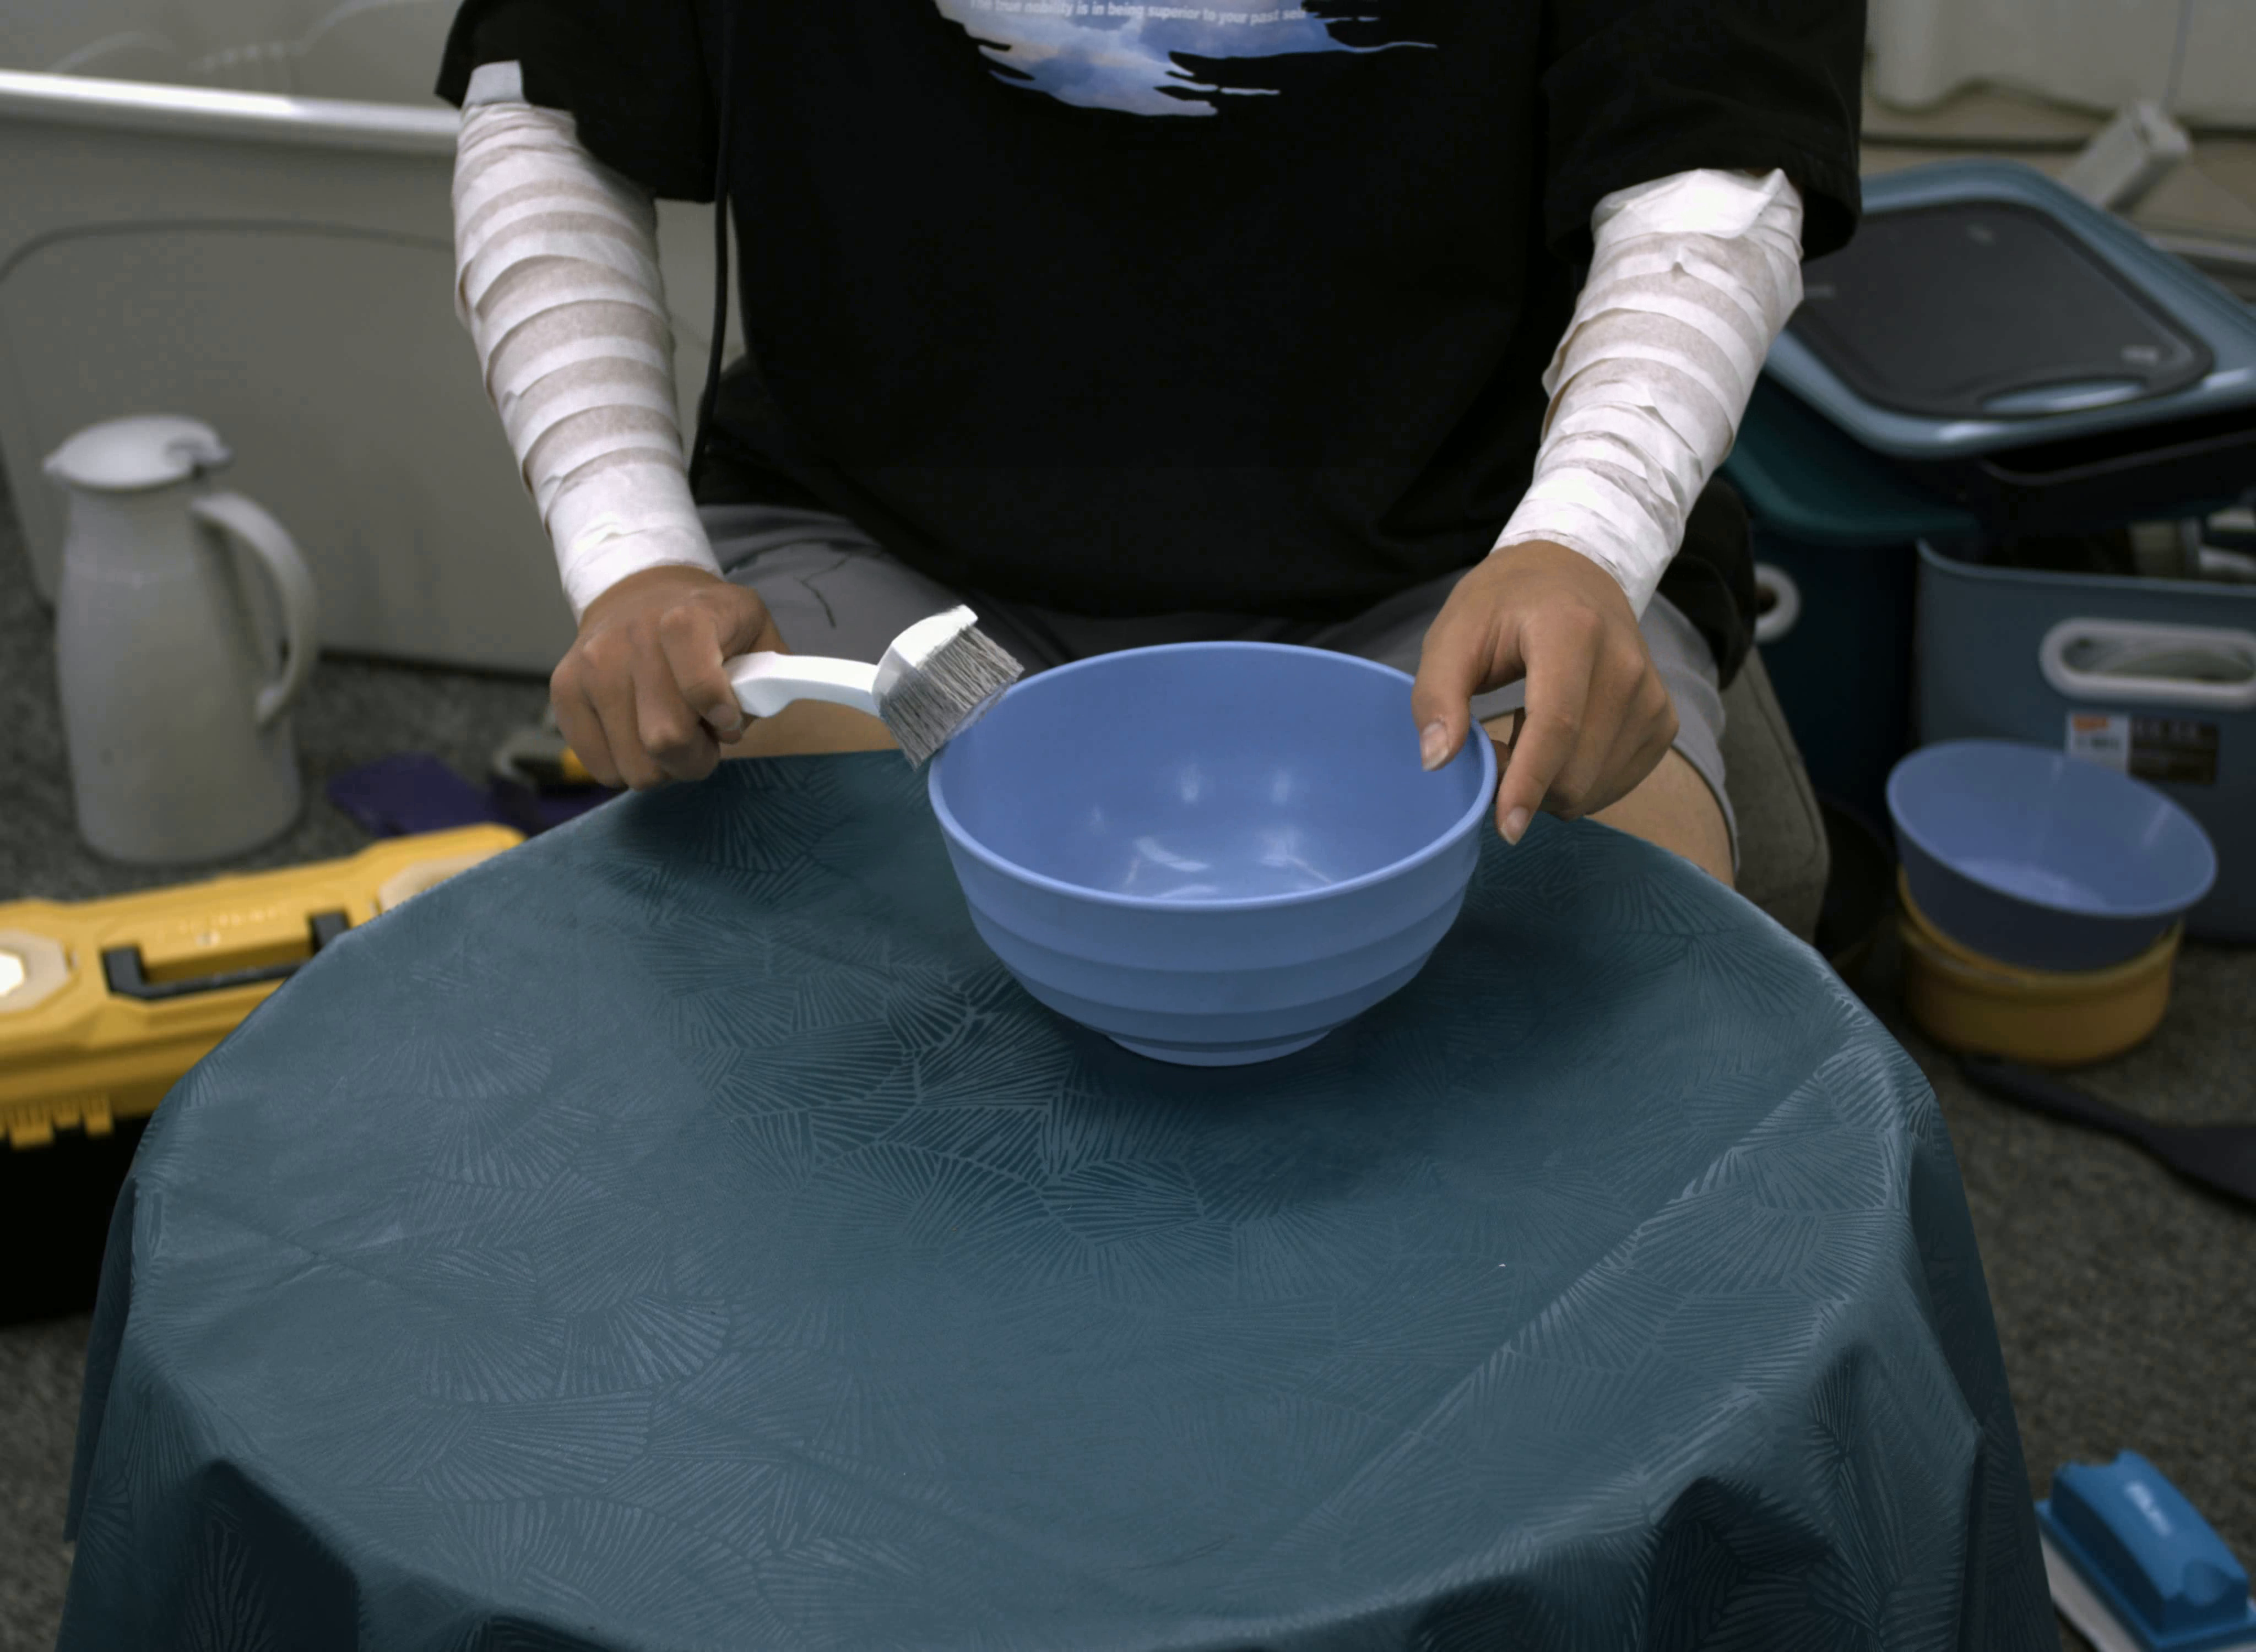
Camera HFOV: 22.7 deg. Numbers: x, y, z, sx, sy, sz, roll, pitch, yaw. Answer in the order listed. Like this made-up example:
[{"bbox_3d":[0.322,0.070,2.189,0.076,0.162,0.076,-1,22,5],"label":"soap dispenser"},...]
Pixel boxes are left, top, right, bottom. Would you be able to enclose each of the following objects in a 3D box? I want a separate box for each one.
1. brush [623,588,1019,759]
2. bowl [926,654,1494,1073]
[{"bbox_3d":[-0.111,-0.041,2.010,0.035,0.050,0.241,-40,13,-29],"label":"brush"},{"bbox_3d":[0.031,0.023,1.951,0.195,0.094,0.199,-3,26,2],"label":"bowl"}]
